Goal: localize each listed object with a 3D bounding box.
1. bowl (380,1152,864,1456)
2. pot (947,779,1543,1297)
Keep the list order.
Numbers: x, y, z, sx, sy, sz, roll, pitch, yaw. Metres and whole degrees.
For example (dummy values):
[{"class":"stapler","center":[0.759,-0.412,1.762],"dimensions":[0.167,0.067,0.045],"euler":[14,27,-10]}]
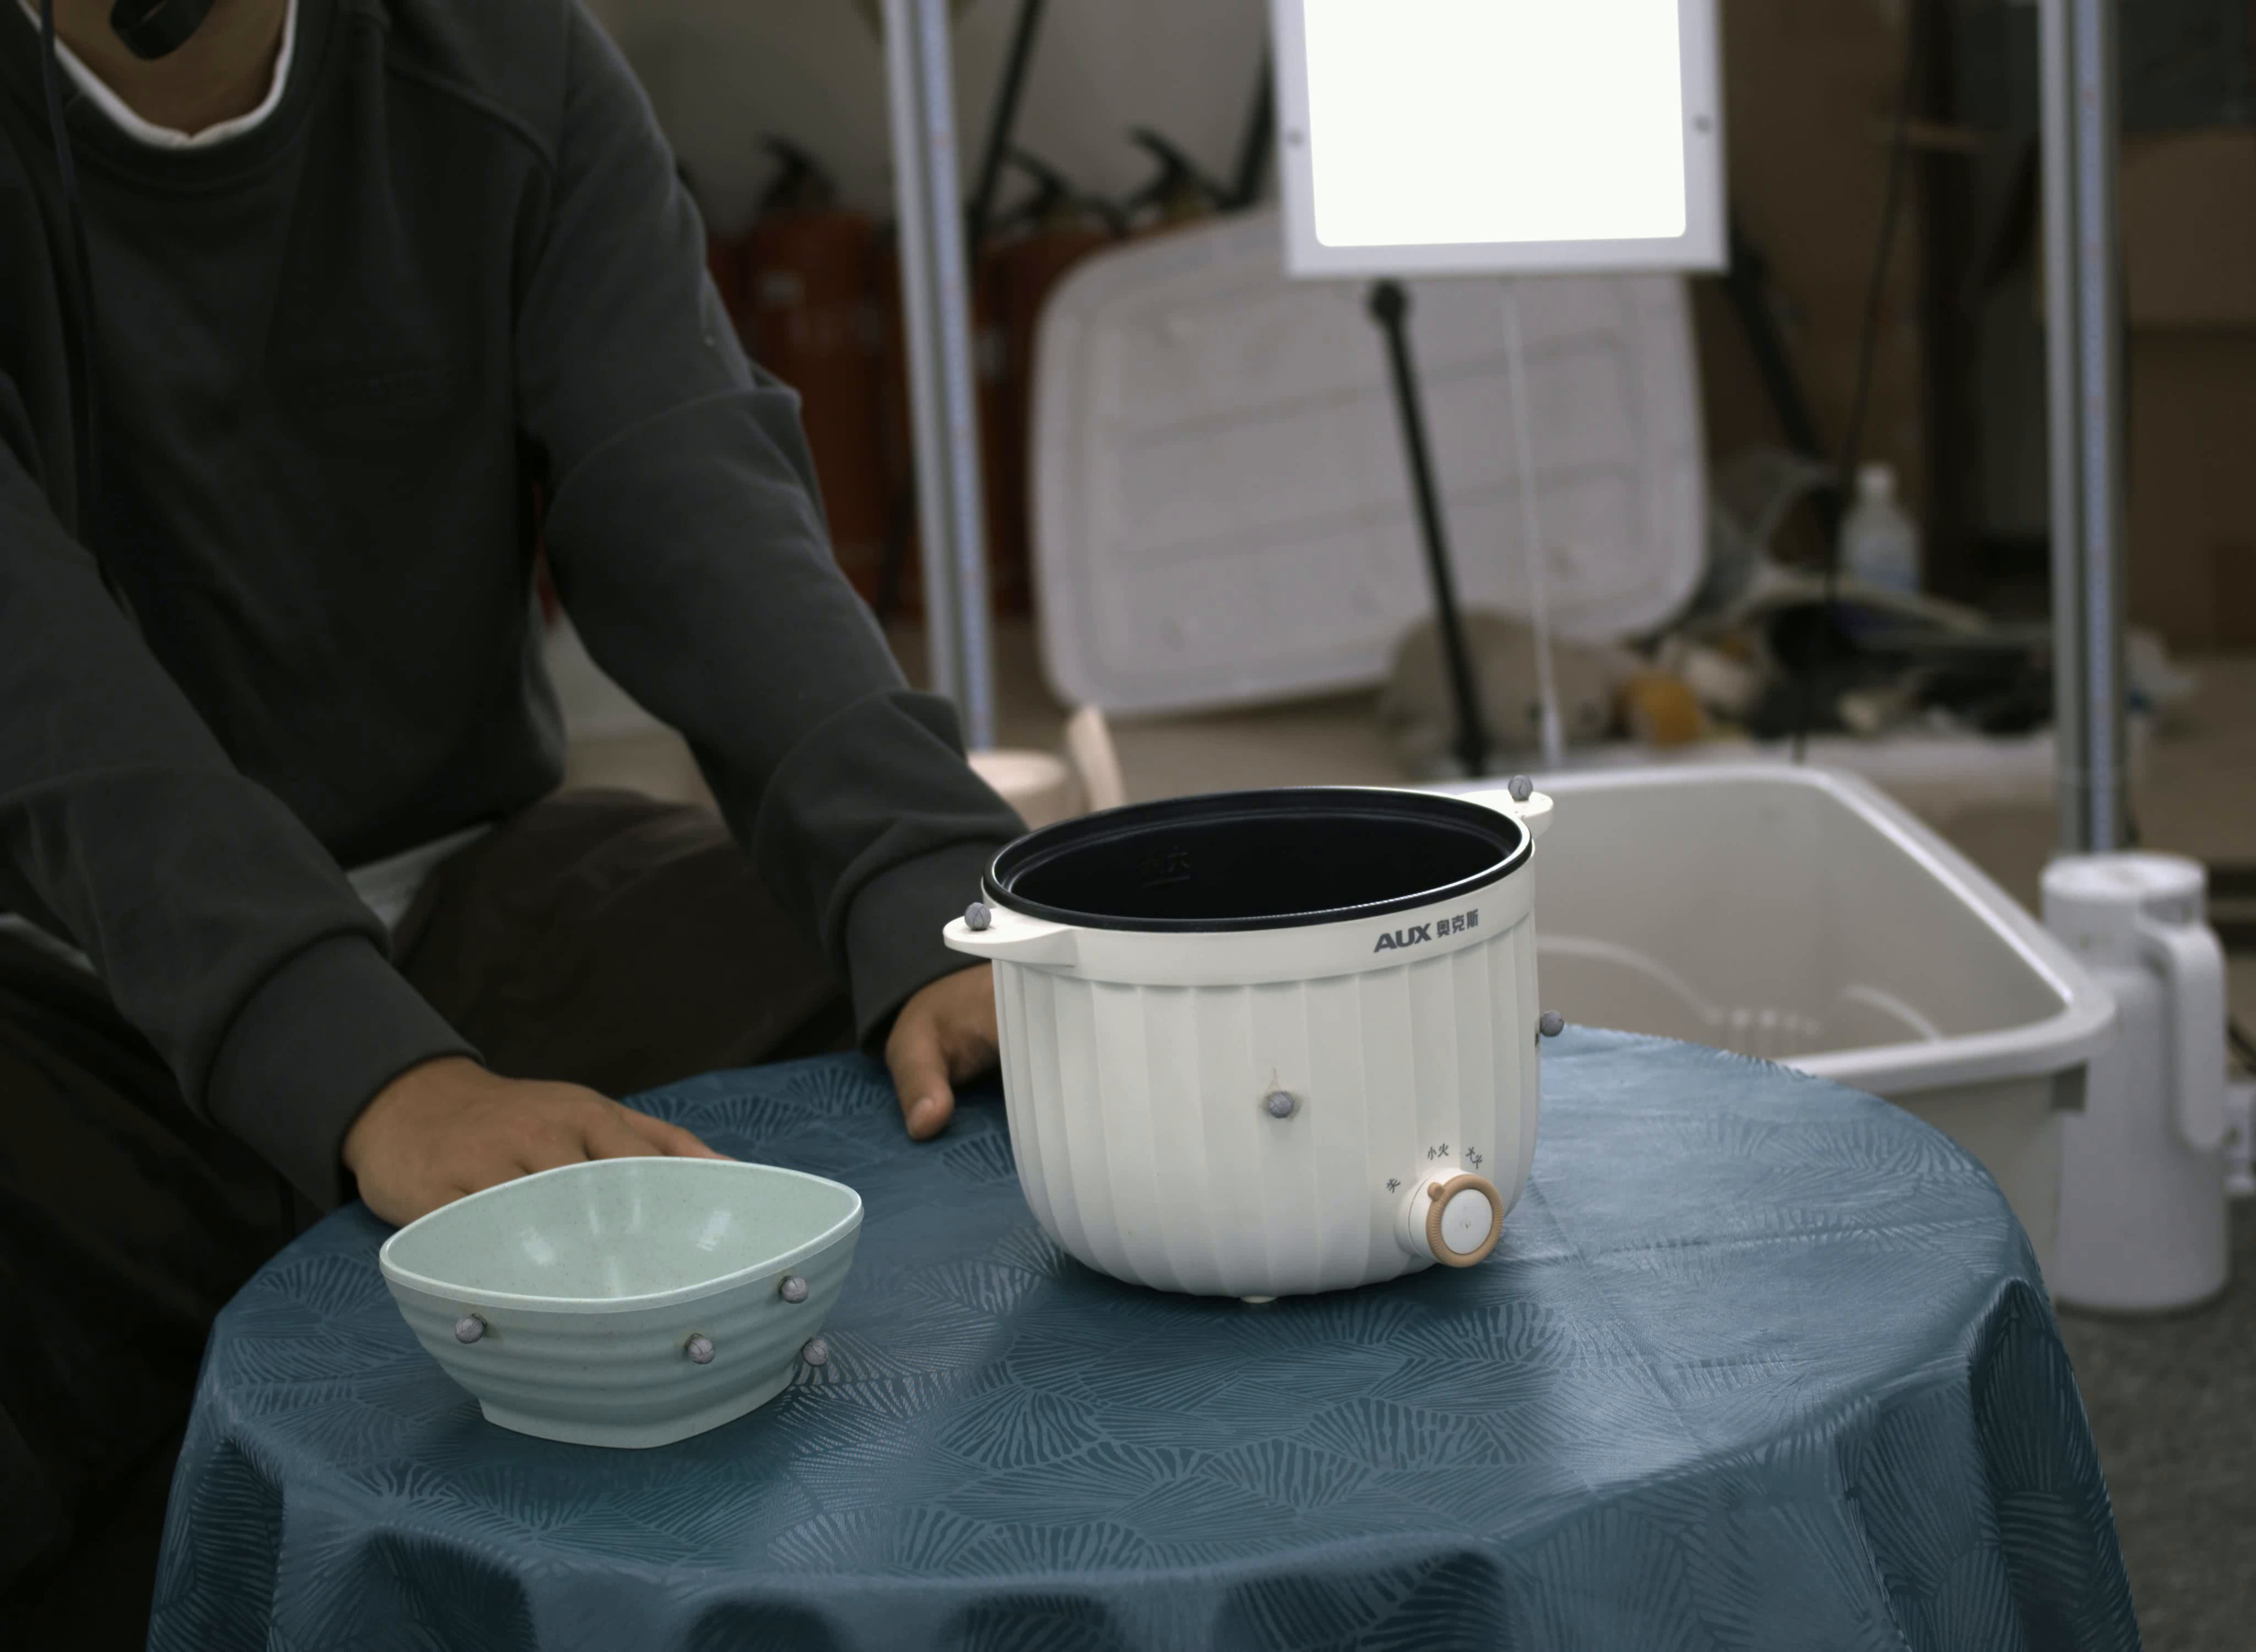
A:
[{"class":"bowl","center":[-0.156,0.153,1.726],"dimensions":[0.151,0.059,0.151],"euler":[-4,15,0]},{"class":"pot","center":[0.051,0.071,1.810],"dimensions":[0.234,0.143,0.194],"euler":[-16,14,-33]}]
